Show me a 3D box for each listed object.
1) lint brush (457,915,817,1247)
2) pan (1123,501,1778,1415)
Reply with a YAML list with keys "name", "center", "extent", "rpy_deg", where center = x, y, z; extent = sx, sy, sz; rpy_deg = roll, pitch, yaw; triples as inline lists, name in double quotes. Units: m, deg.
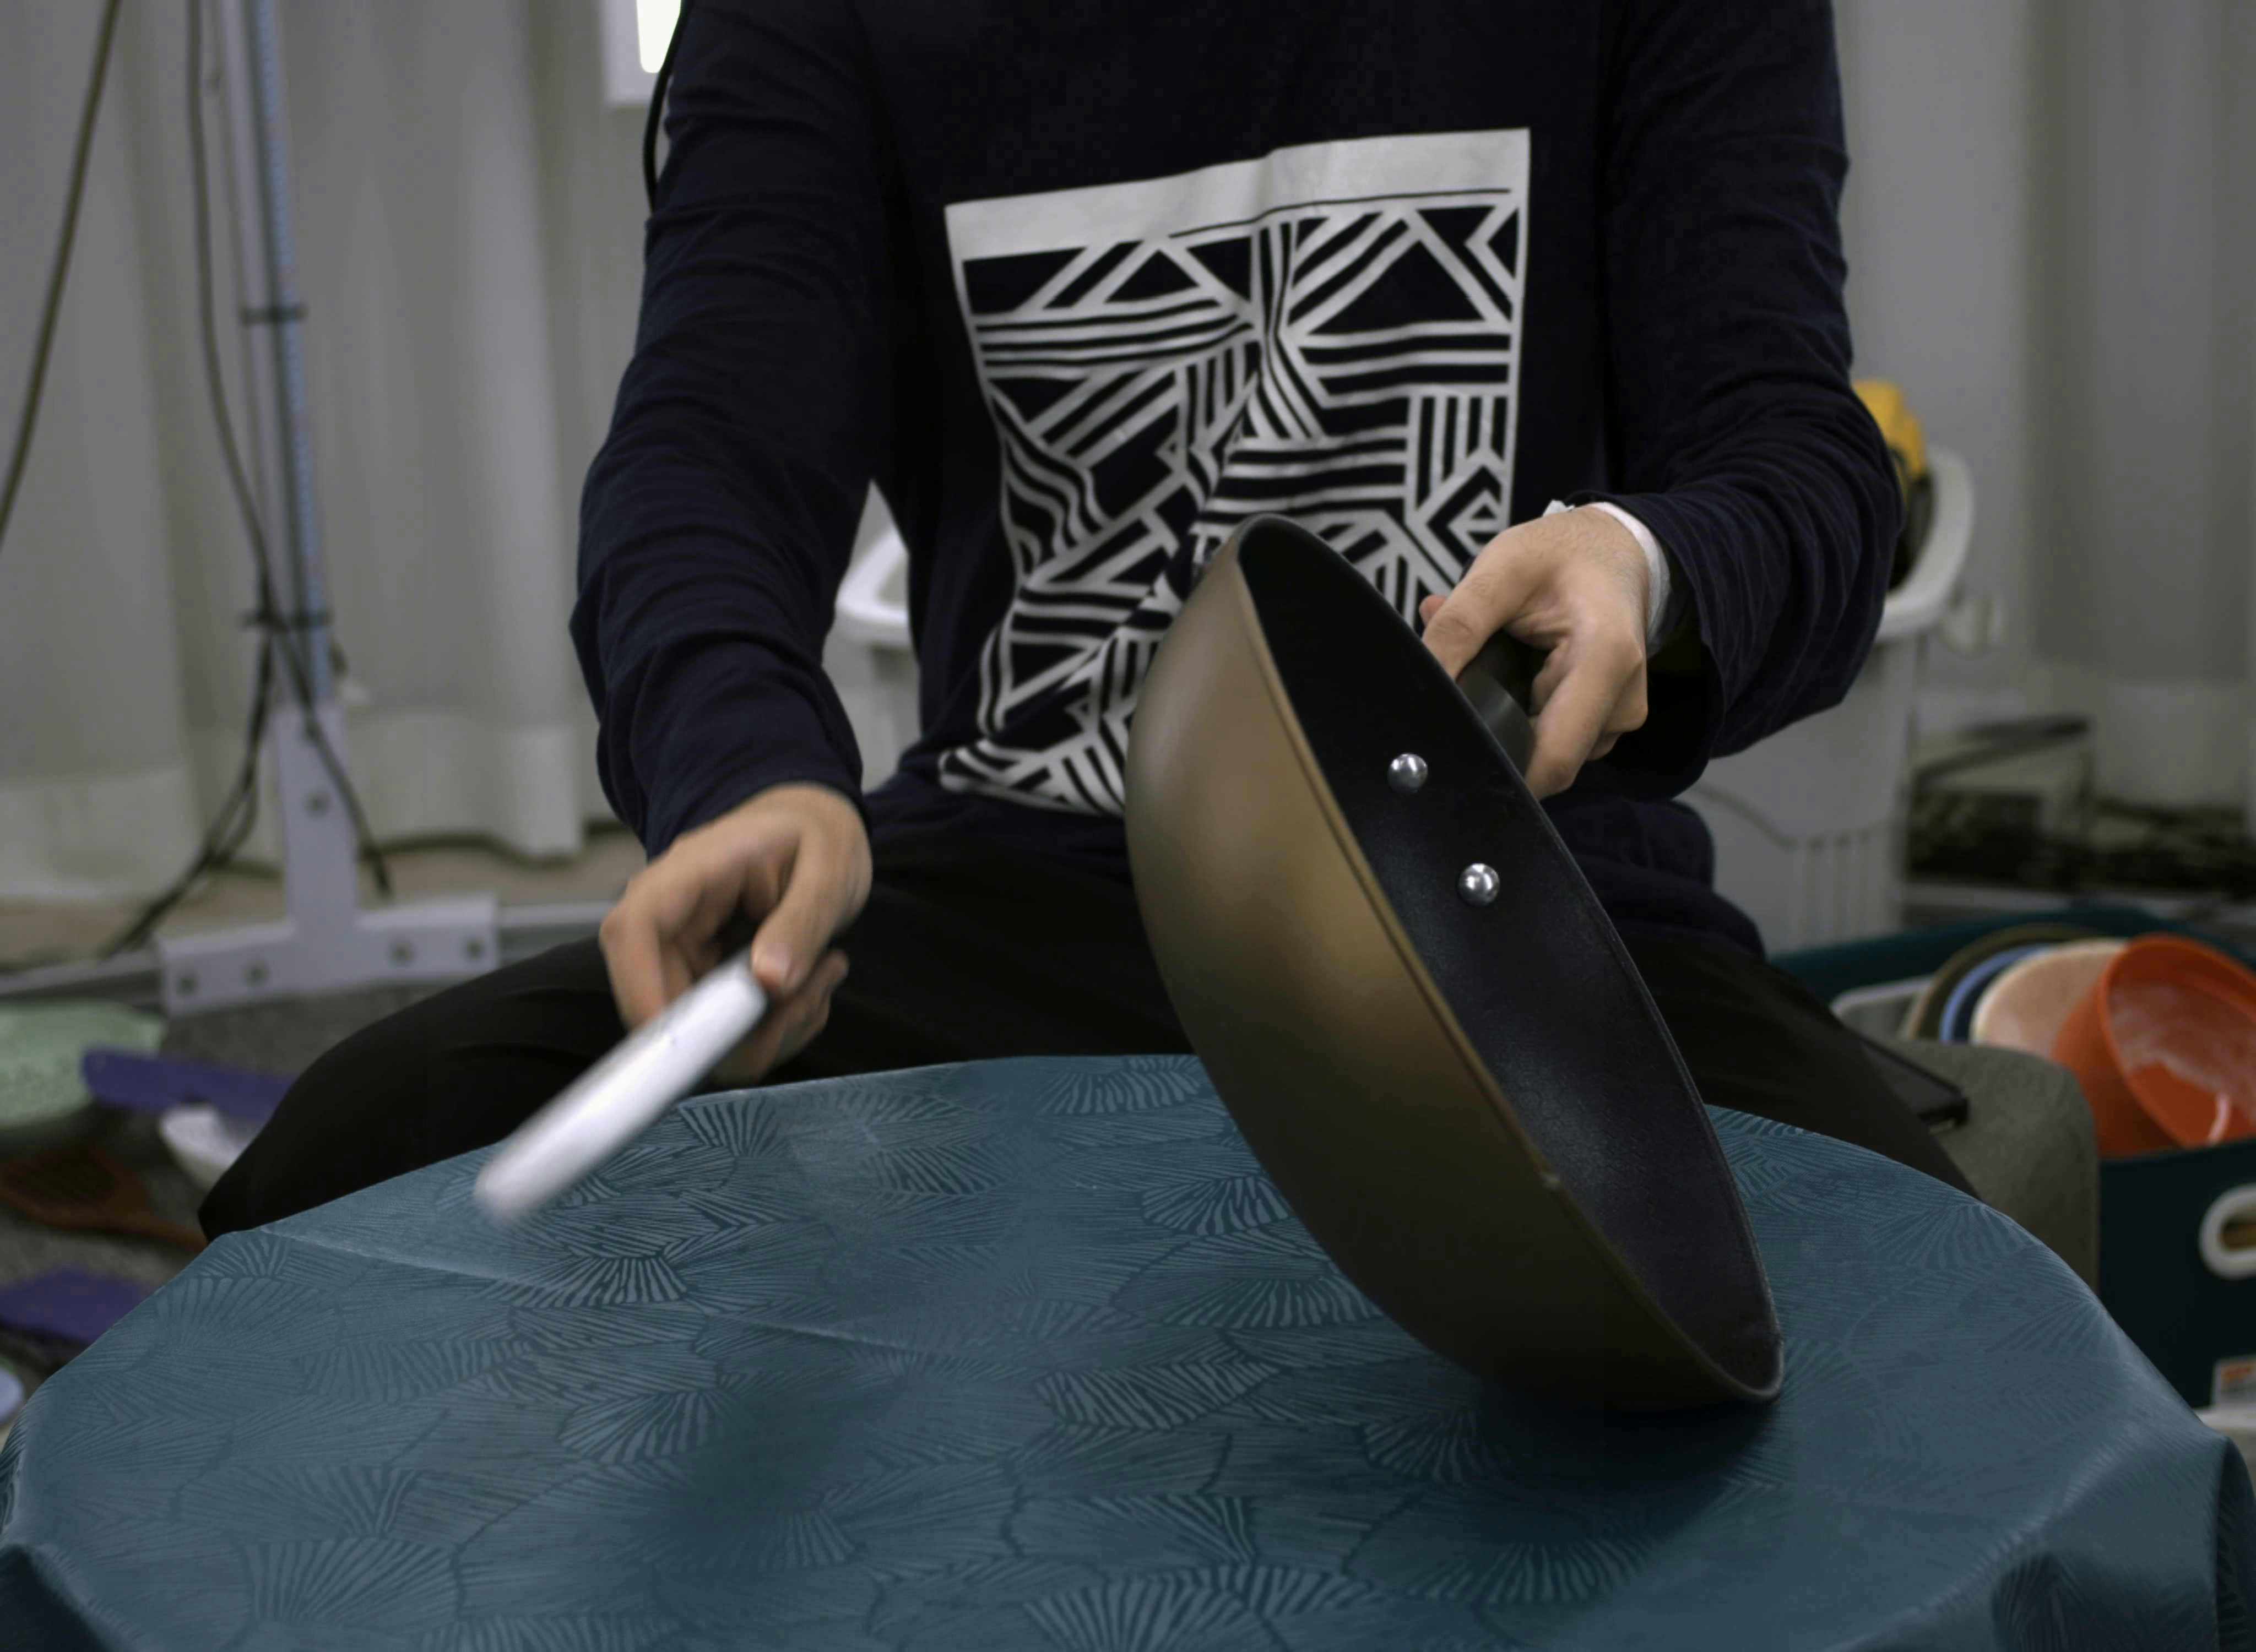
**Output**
- name: "lint brush"
  center: [-0.133, 0.066, 1.585]
  extent: [0.060, 0.021, 0.310]
  rpy_deg: [-40, 2, 14]
- name: "pan"
  center: [0.082, 0.020, 1.602]
  extent: [0.086, 0.286, 0.467]
  rpy_deg: [-30, 15, 13]
